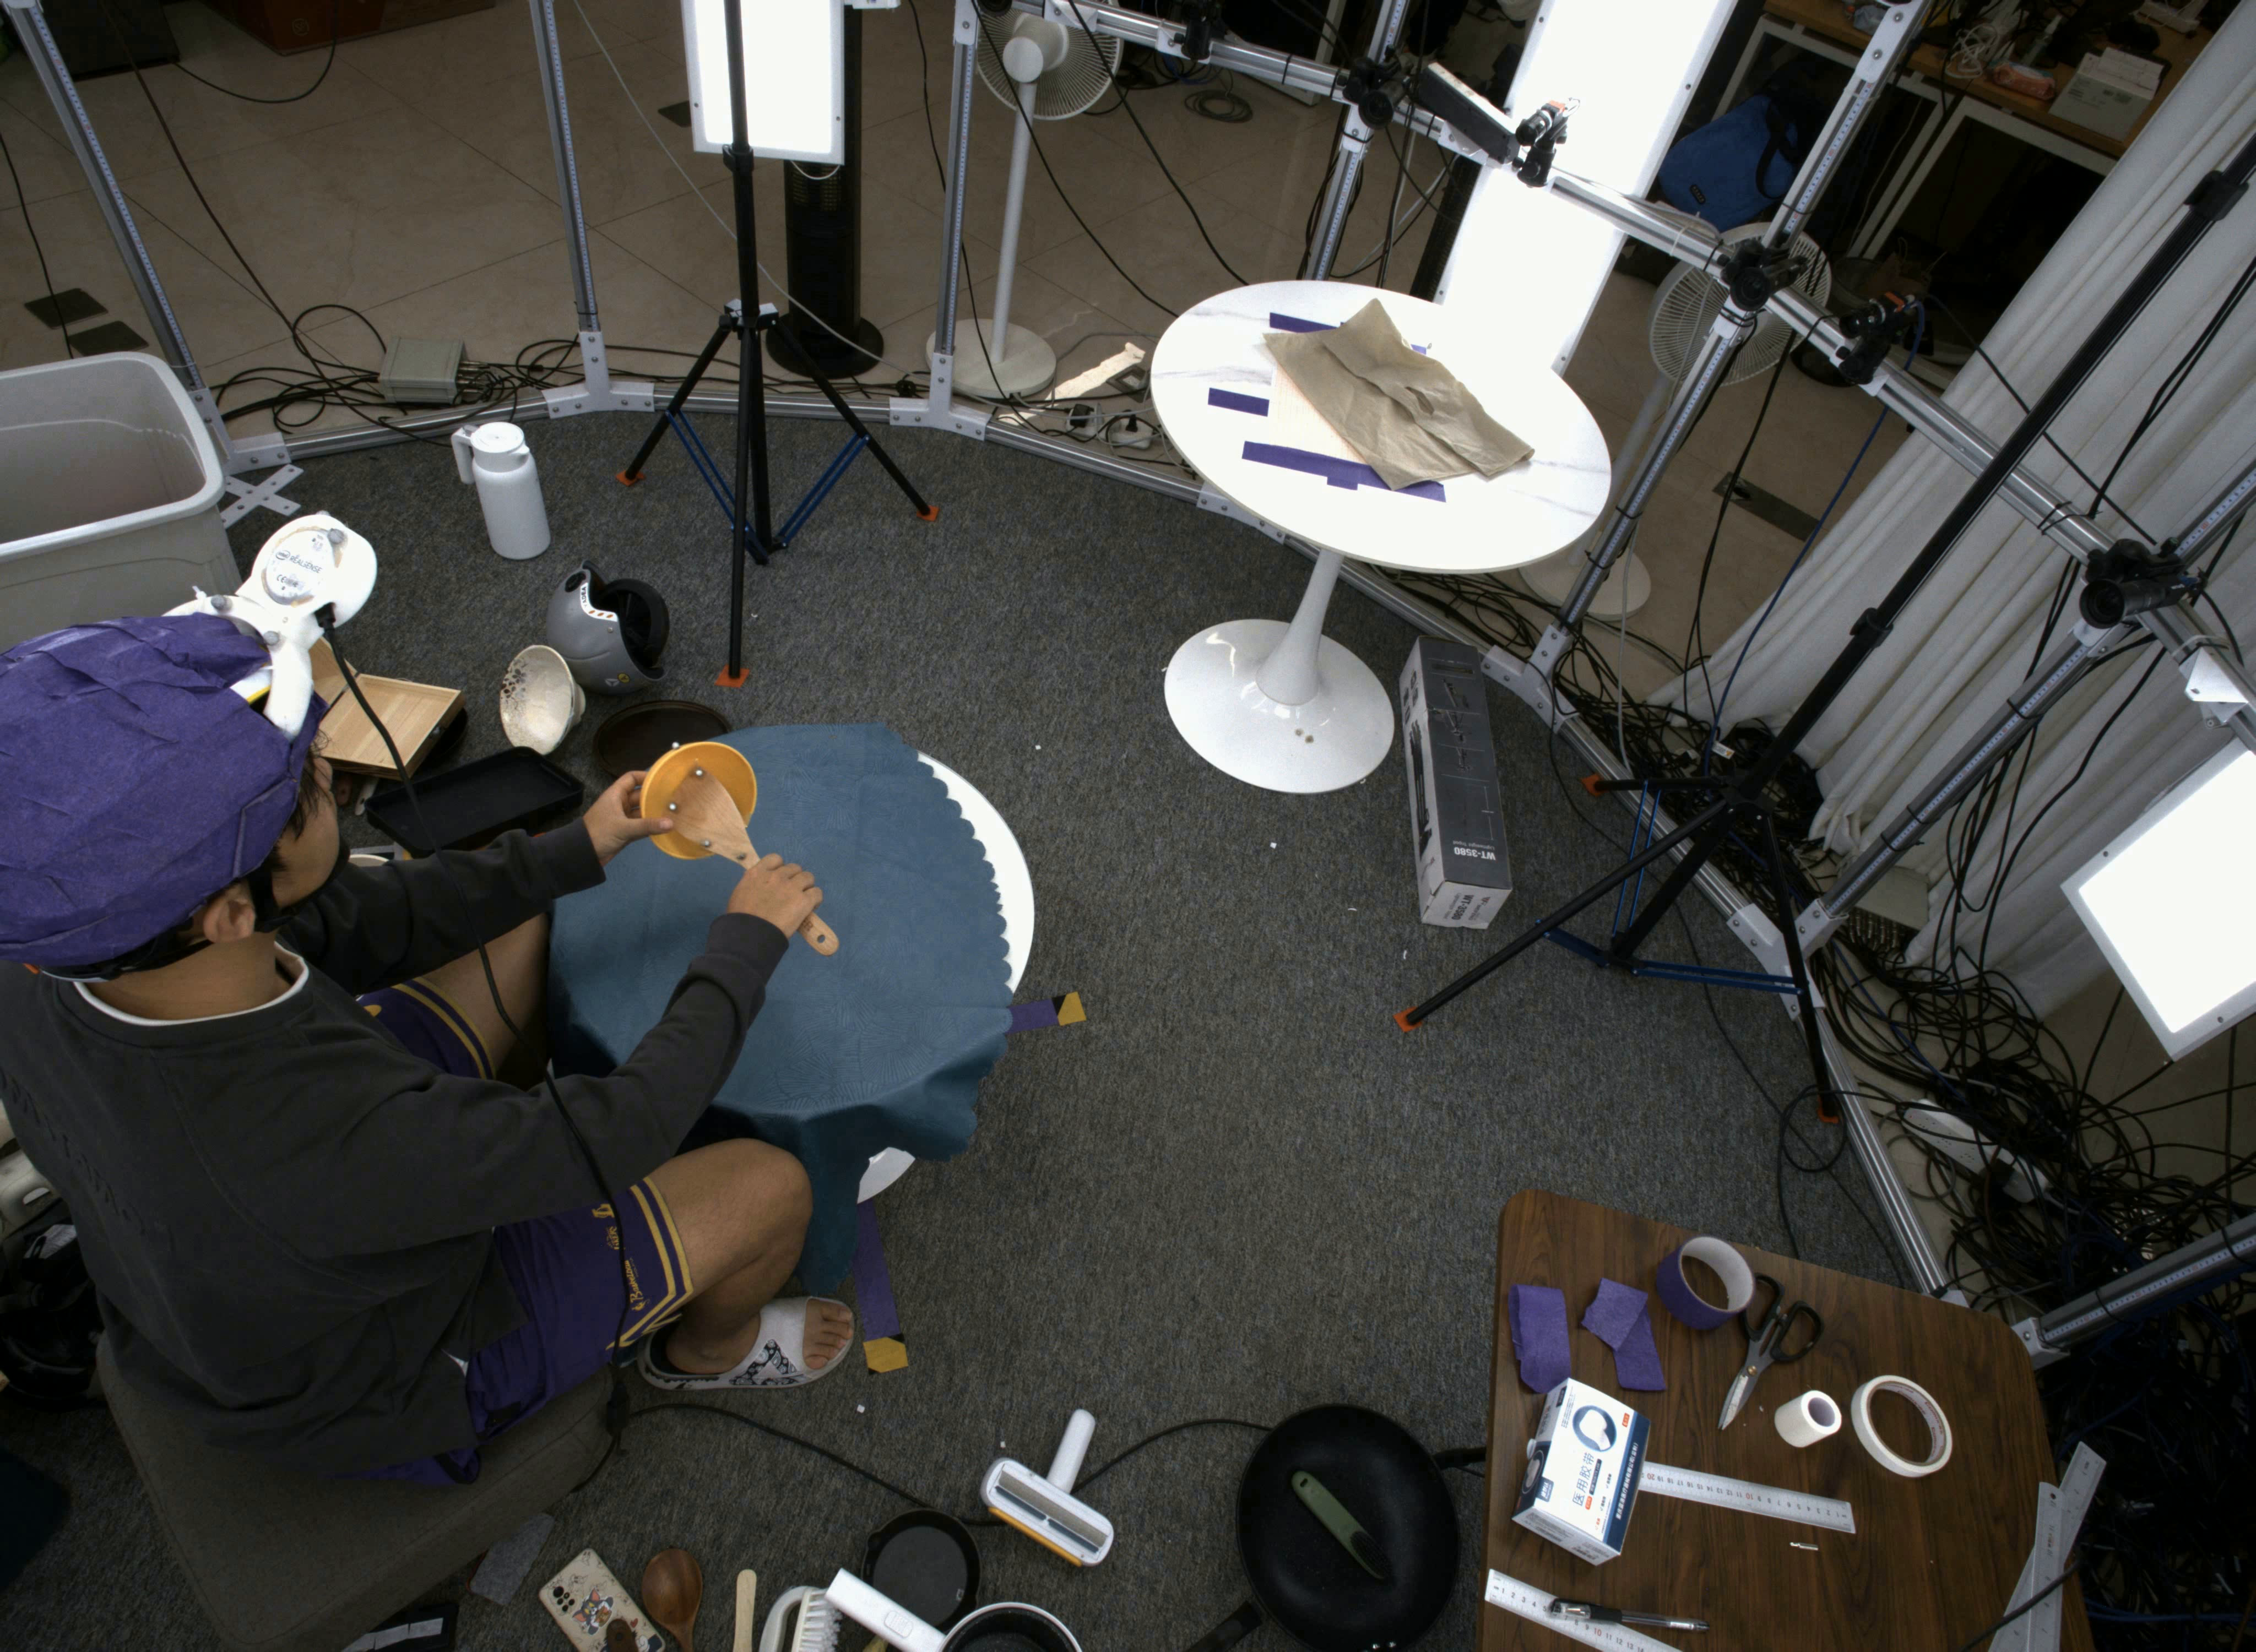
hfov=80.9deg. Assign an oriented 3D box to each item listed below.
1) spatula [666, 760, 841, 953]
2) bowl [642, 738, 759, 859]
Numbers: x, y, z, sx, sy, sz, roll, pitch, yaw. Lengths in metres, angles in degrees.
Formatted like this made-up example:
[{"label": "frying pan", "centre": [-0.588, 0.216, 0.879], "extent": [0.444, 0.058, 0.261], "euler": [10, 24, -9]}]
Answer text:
[{"label": "spatula", "centre": [-0.424, 0.039, 1.465], "extent": [0.317, 0.017, 0.080], "euler": [40, 83, 27]}, {"label": "bowl", "centre": [-0.516, -0.041, 1.526], "extent": [0.146, 0.150, 0.058], "euler": [-28, 37, -30]}]
